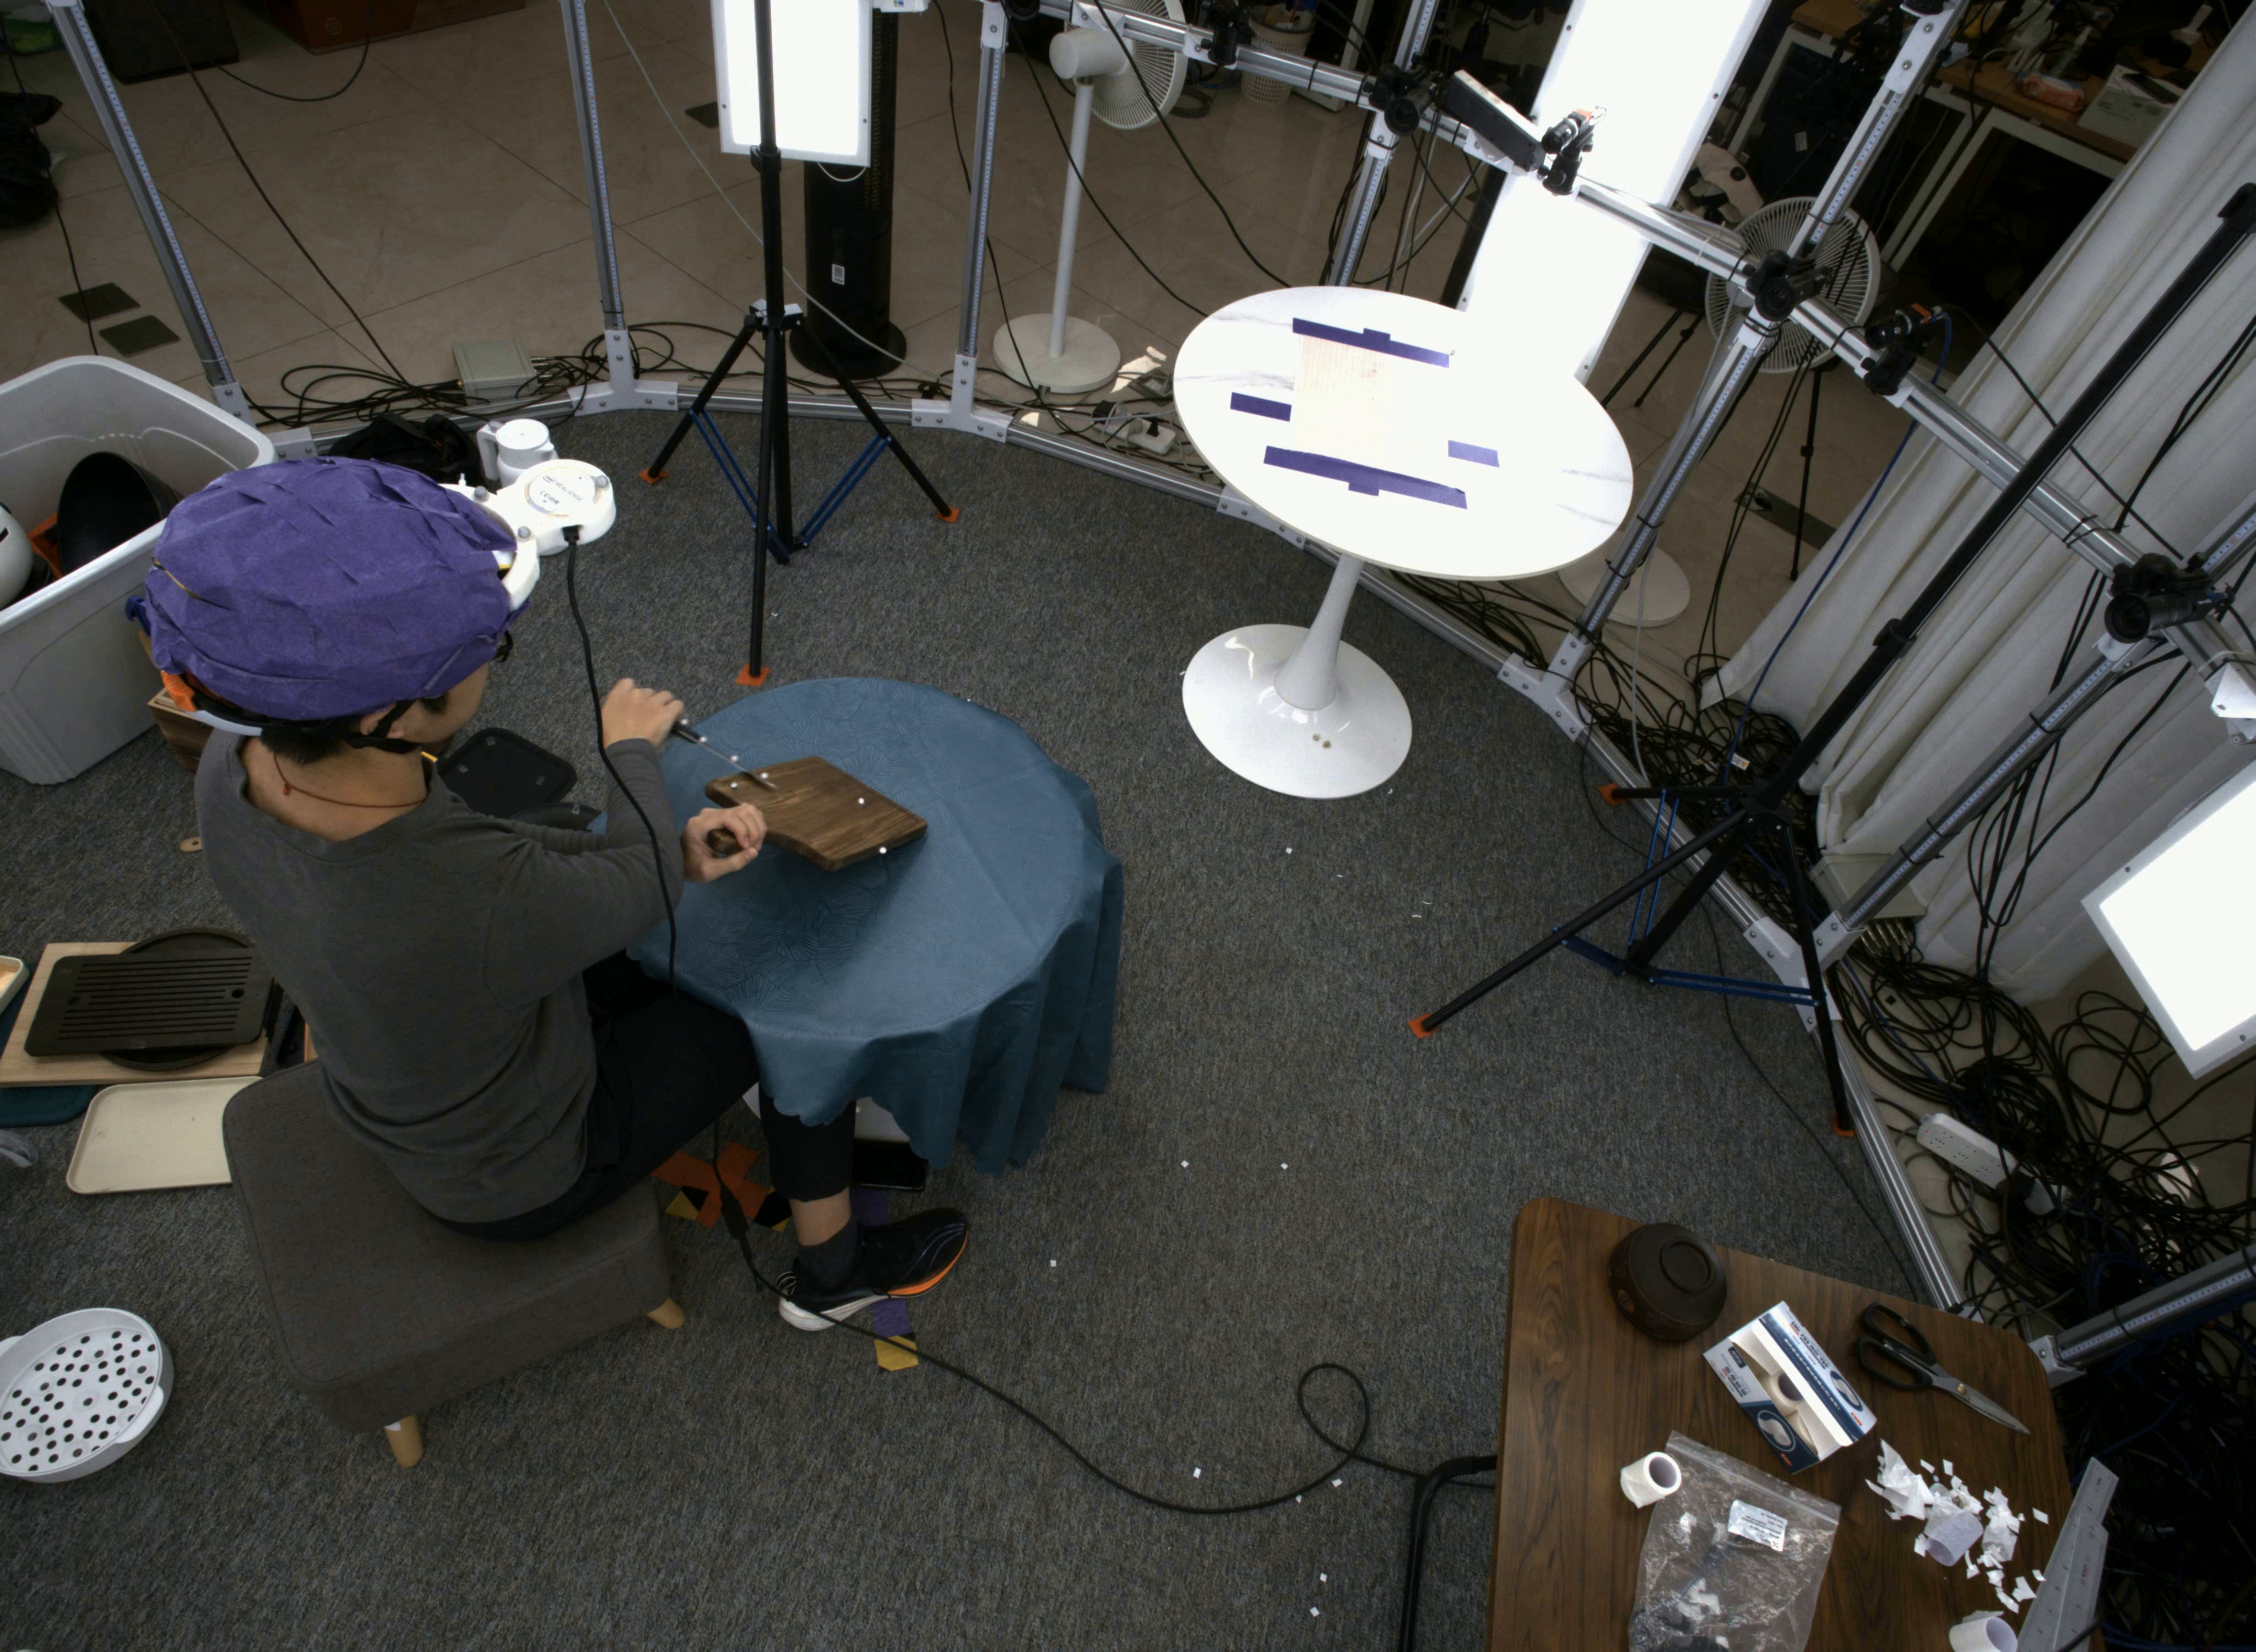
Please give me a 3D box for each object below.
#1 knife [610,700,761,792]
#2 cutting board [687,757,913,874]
[{"bbox_3d":[-0.563,-0.101,1.619,0.236,0.016,0.024,29,10,2],"label":"knife"},{"bbox_3d":[-0.427,-0.011,1.607,0.198,0.023,0.353,30,18,10],"label":"cutting board"}]
